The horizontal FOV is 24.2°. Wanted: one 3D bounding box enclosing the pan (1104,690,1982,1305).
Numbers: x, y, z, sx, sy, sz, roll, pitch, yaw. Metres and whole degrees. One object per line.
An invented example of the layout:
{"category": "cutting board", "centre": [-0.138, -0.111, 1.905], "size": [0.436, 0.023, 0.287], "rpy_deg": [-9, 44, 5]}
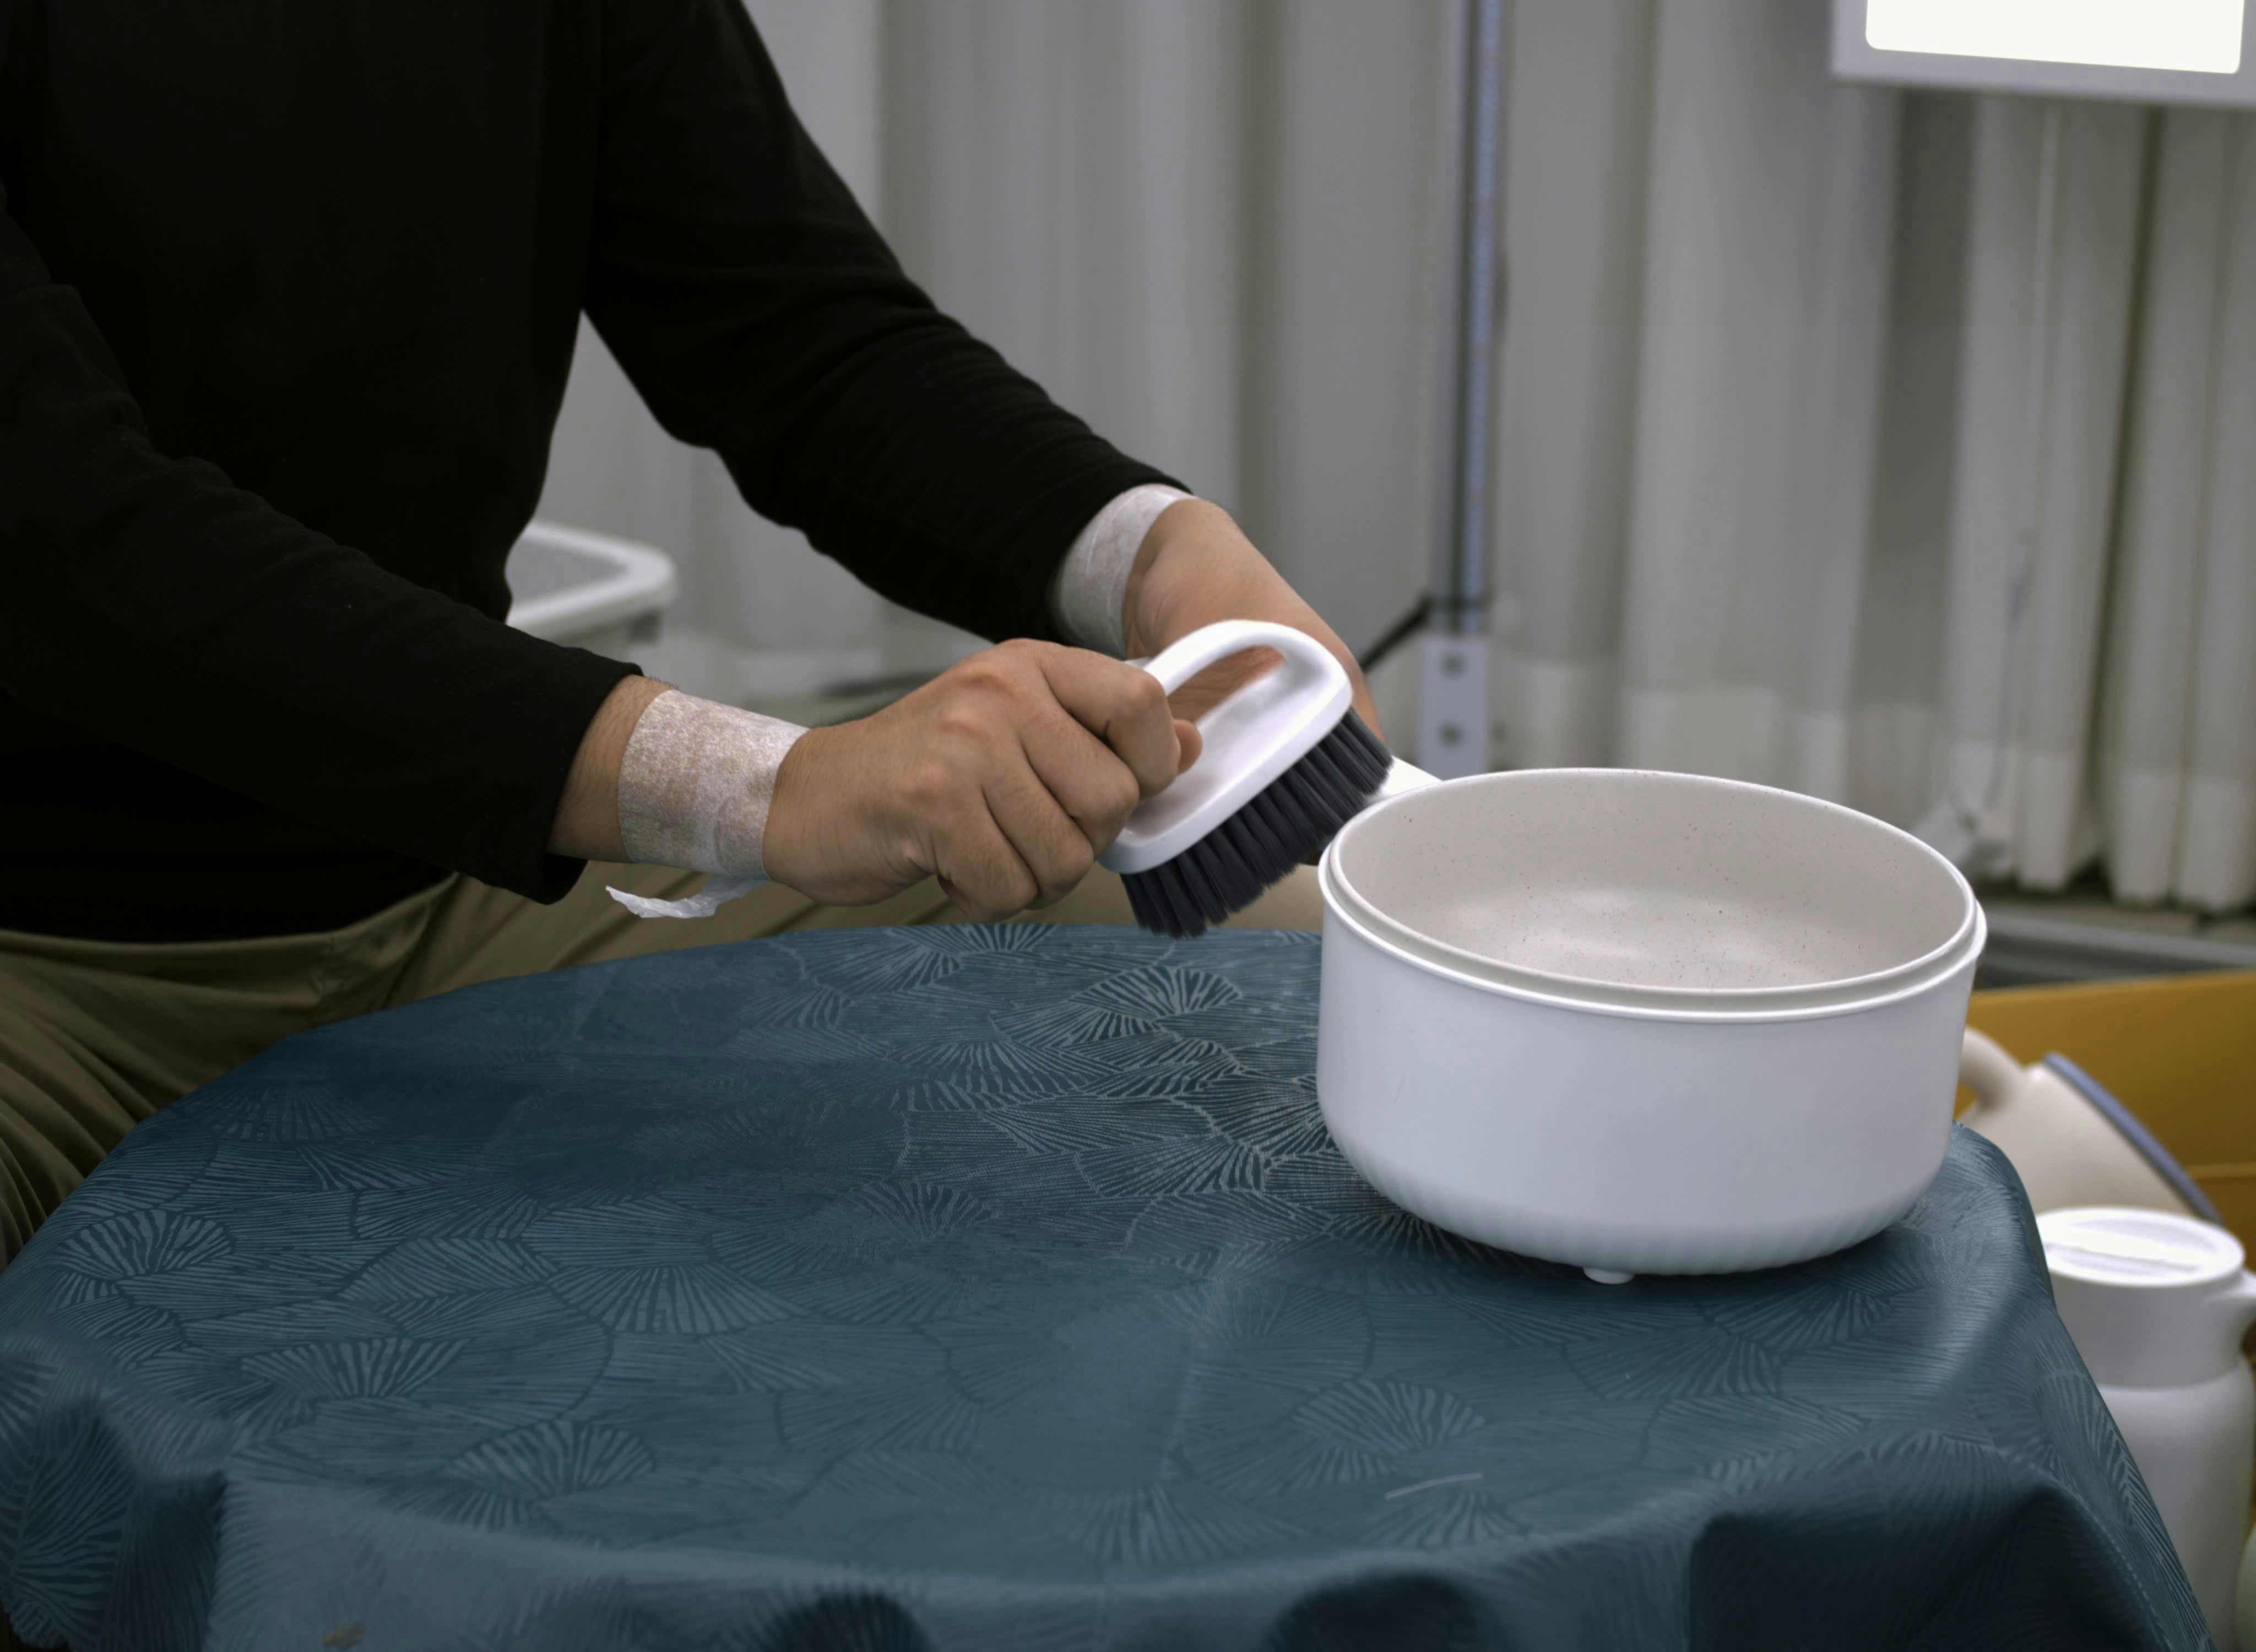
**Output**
{"category": "pan", "centre": [0.110, 0.045, 1.659], "size": [0.202, 0.103, 0.350], "rpy_deg": [-15, 26, -35]}

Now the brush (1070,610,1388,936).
{"category": "brush", "centre": [0.025, -0.024, 1.626], "size": [0.099, 0.073, 0.049], "rpy_deg": [-40, 32, -14]}
